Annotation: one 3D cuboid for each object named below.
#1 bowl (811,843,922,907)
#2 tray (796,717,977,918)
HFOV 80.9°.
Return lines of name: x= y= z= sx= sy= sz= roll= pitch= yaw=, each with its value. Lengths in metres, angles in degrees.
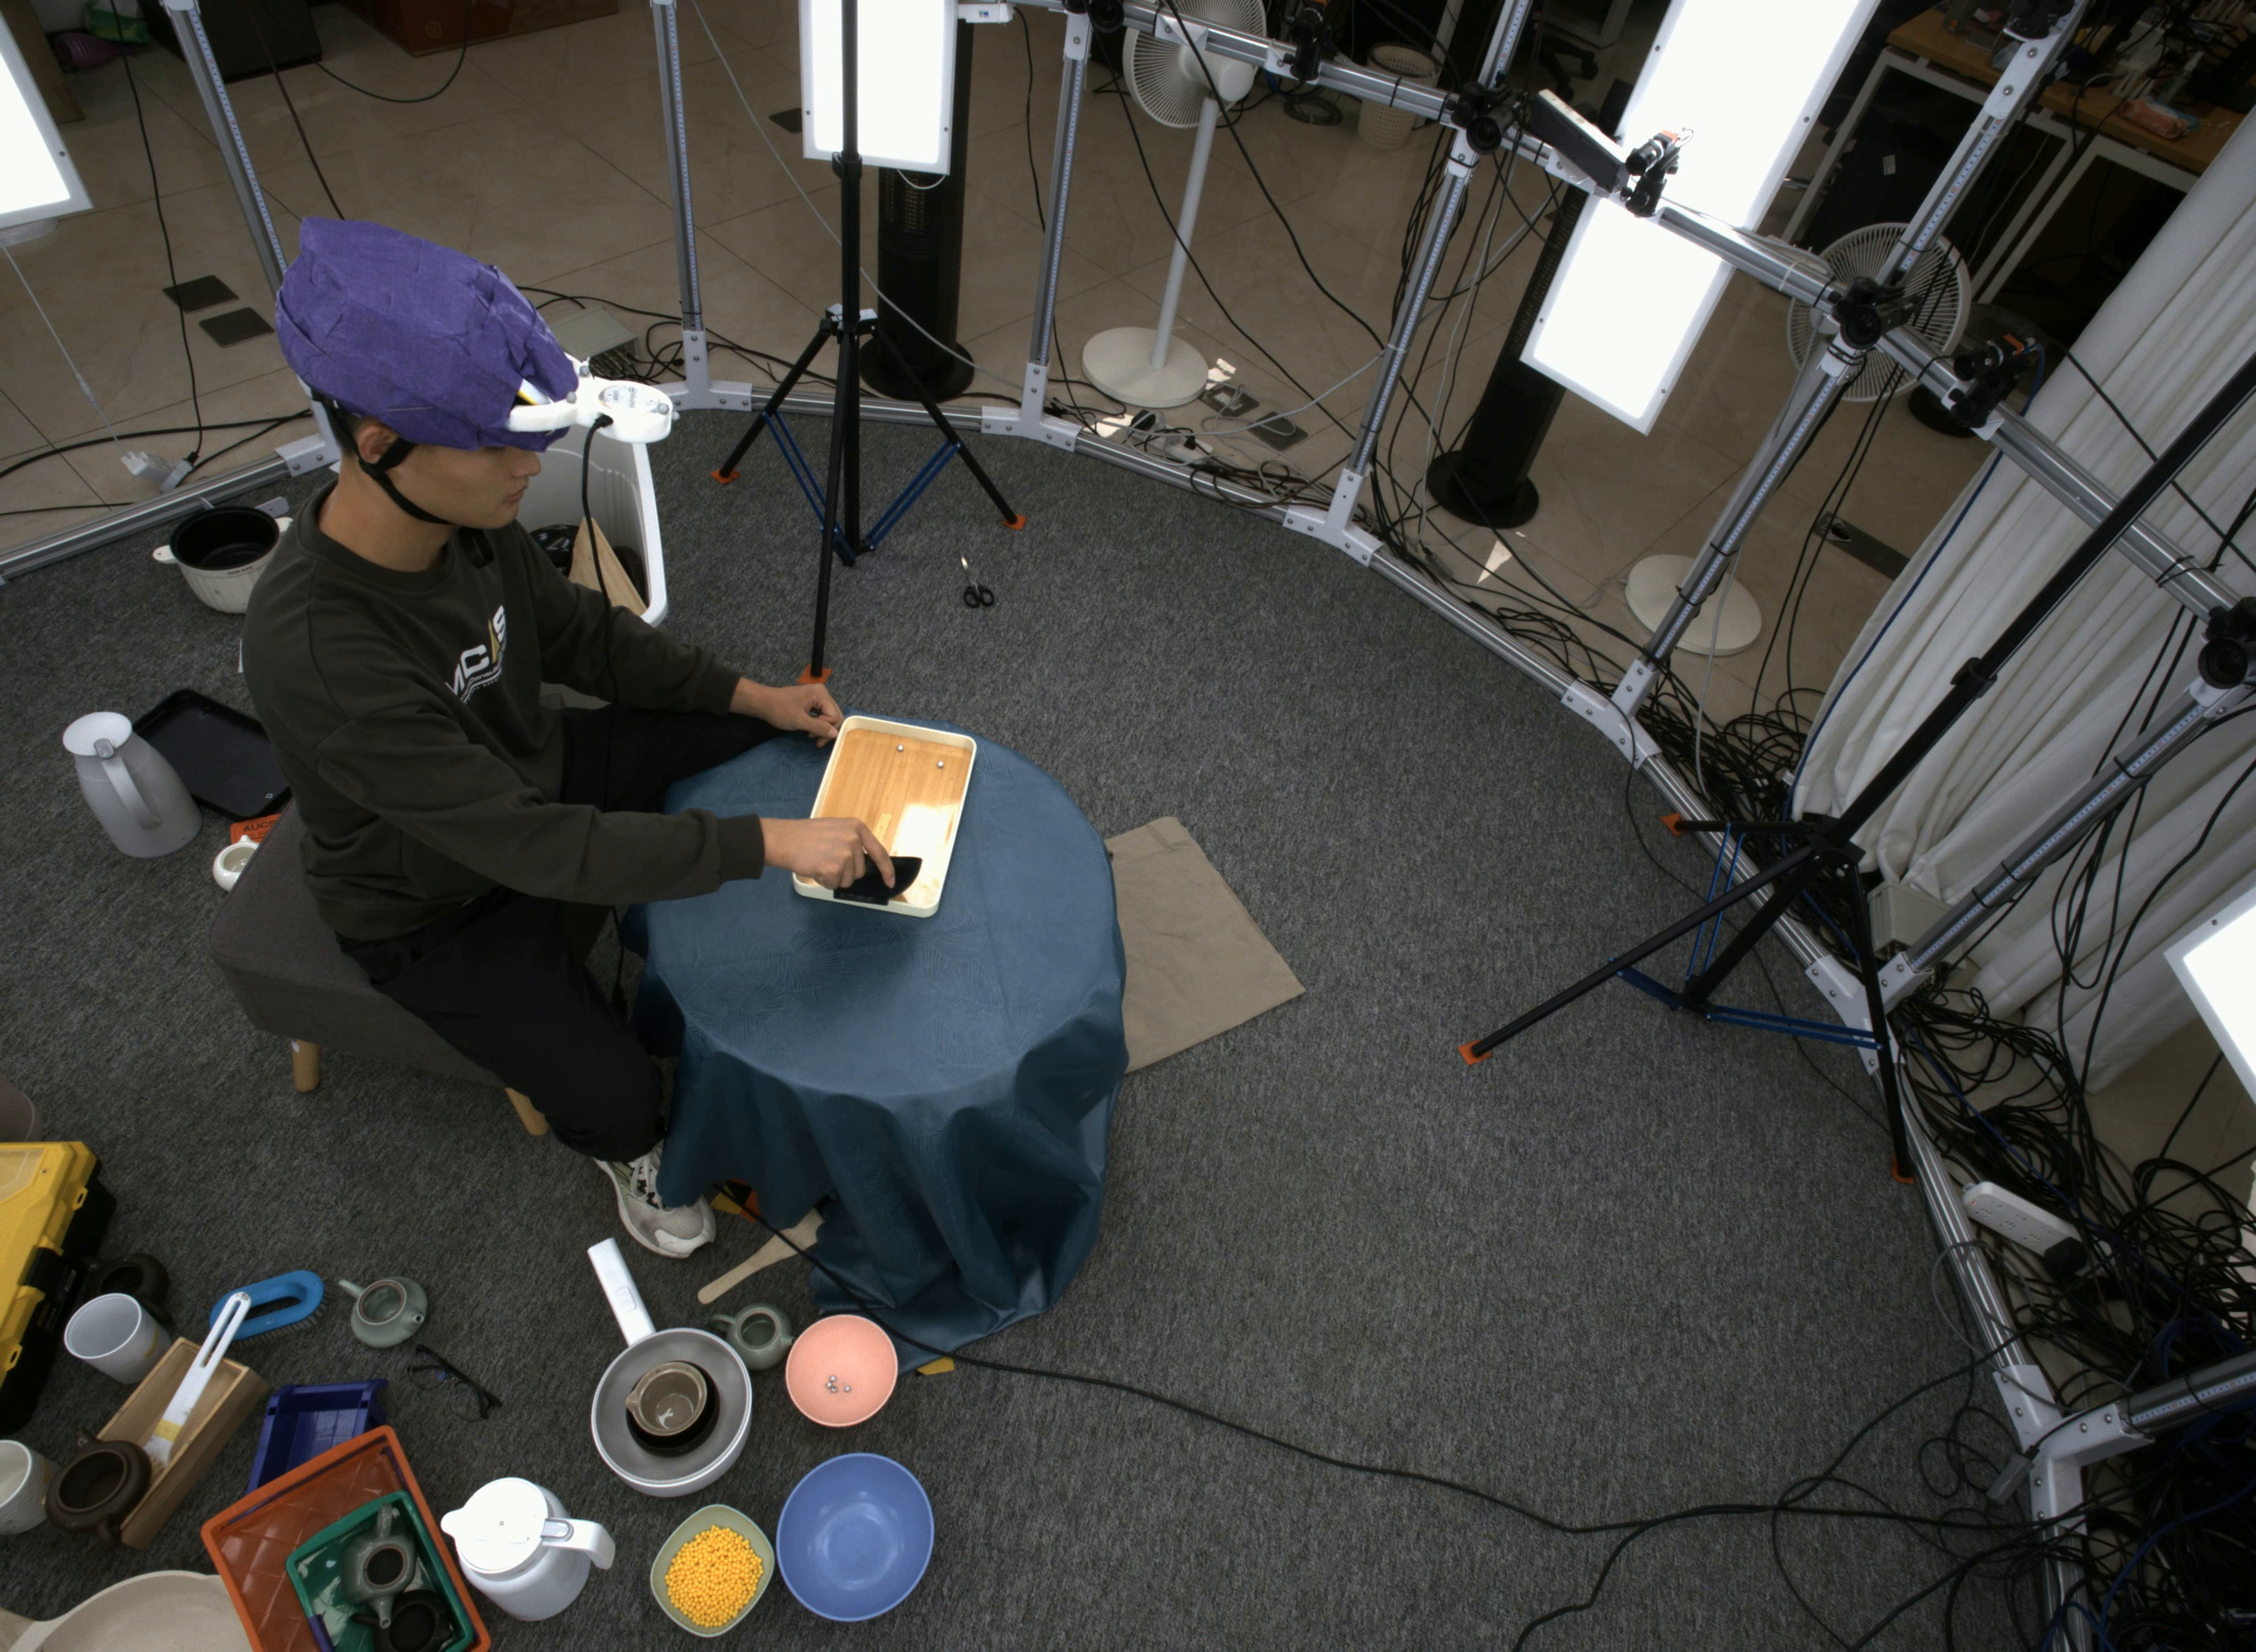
bowl: x=-0.328 y=0.063 z=1.610 sx=0.137 sy=0.169 sz=0.067 roll=10 pitch=83 yaw=-10
tray: x=-0.320 y=-0.017 z=1.756 sx=0.190 sy=0.028 sz=0.295 roll=11 pitch=52 yaw=-5
